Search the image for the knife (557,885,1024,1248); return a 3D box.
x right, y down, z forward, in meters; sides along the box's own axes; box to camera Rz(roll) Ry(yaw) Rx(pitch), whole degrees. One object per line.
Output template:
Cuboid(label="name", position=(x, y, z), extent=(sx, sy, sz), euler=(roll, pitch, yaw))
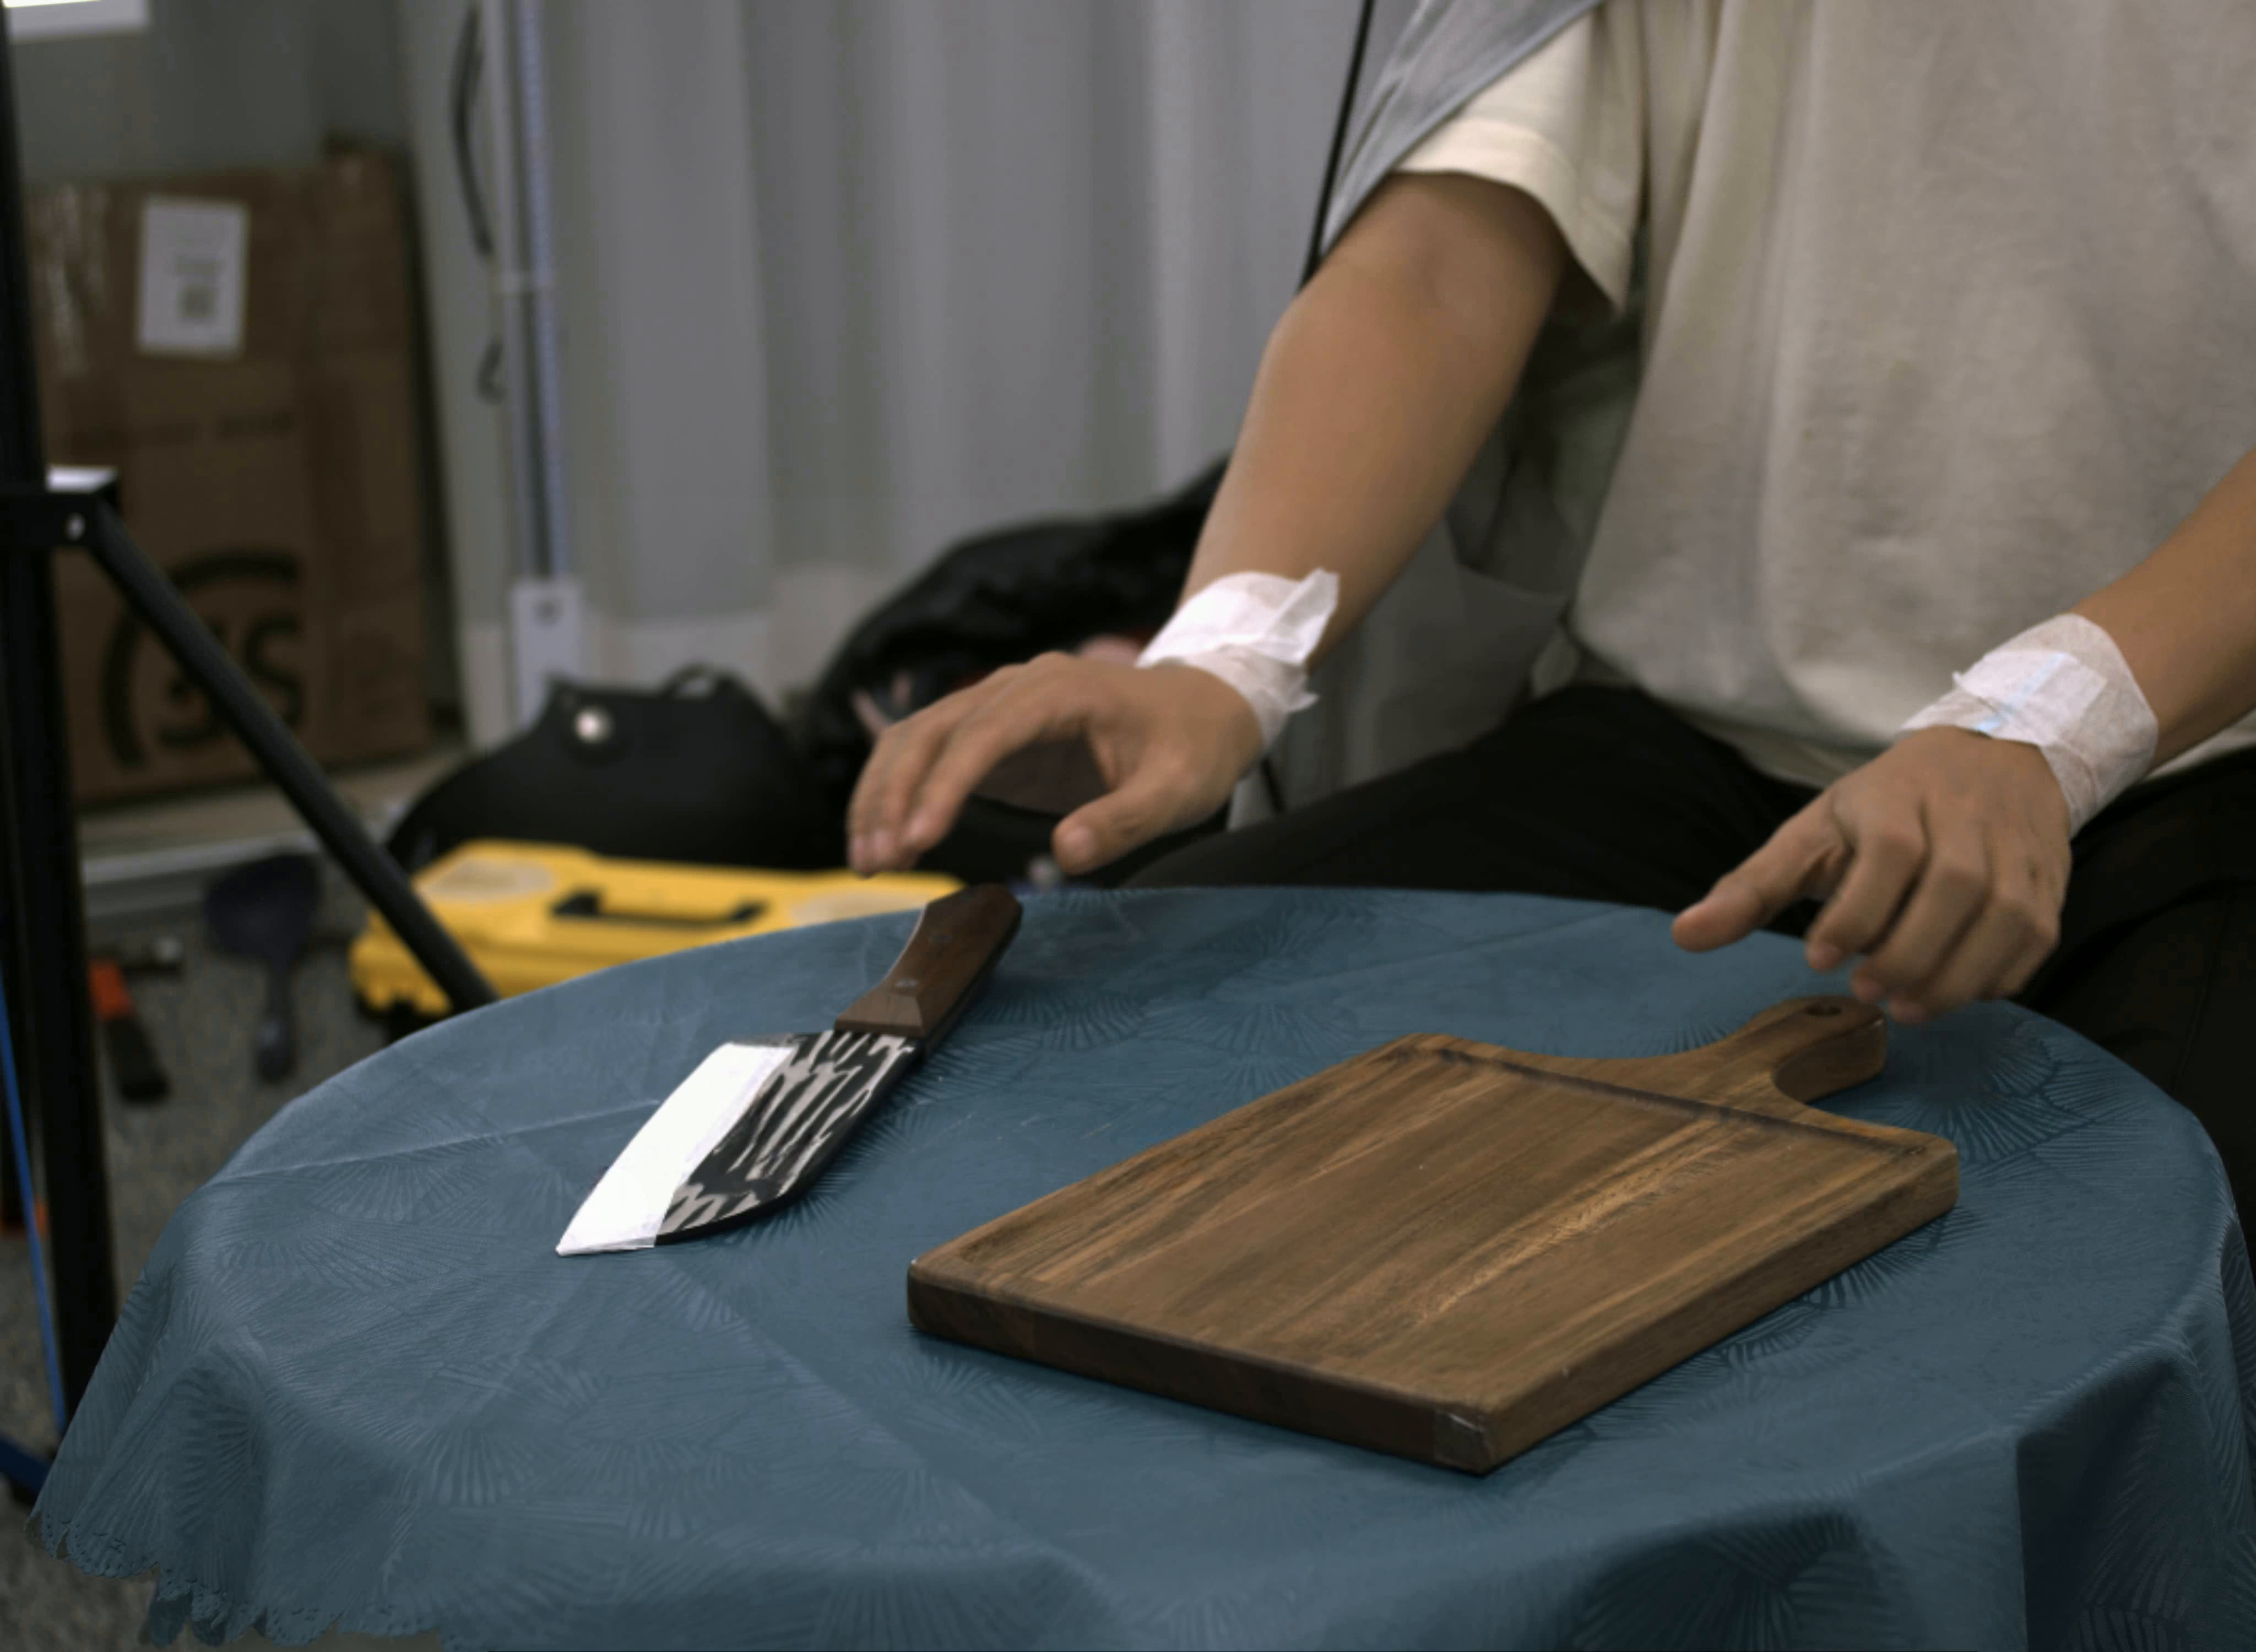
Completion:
Cuboid(label="knife", position=(-0.101, 0.075, 1.656), extent=(0.069, 0.024, 0.297), euler=(0, 18, 17))

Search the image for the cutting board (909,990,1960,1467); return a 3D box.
Cuboid(label="cutting board", position=(0.120, 0.102, 1.518), extent=(0.205, 0.023, 0.344), euler=(10, 19, 37))
